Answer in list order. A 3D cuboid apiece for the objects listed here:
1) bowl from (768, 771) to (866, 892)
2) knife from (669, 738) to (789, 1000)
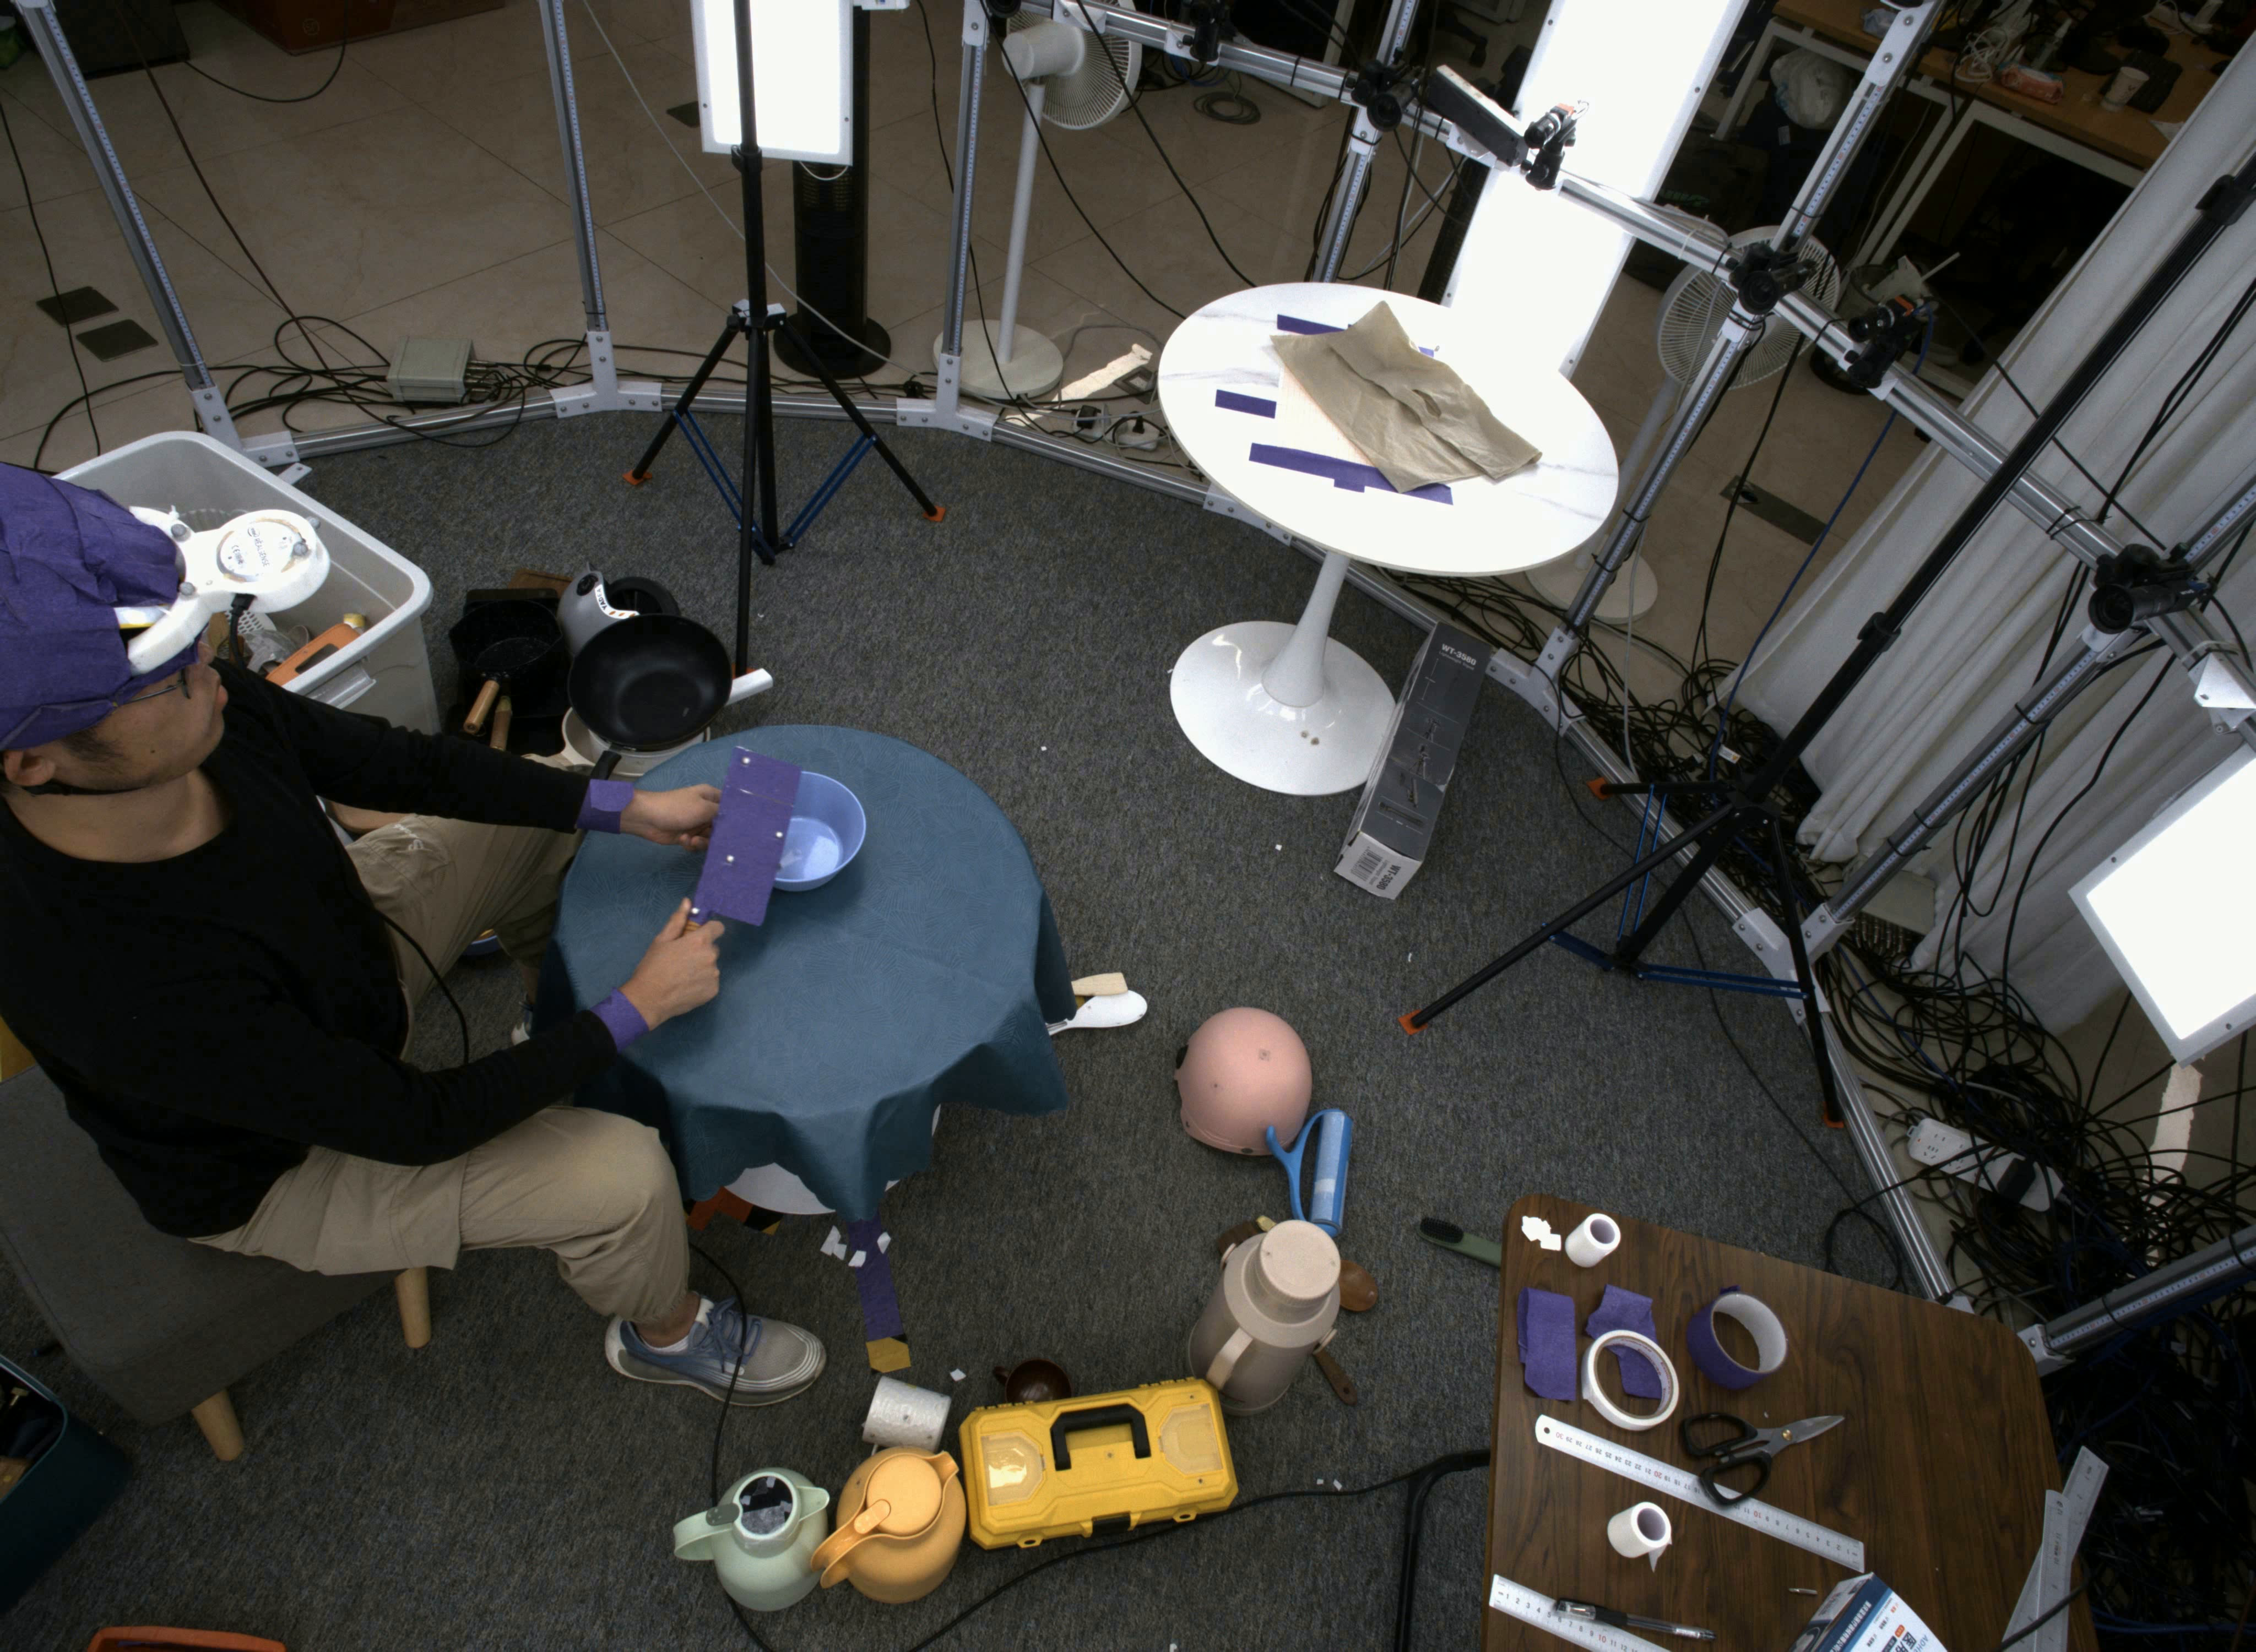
[{"bbox_3d":[-0.424,0.017,1.662,0.175,0.072,0.173,7,52,-8],"label":"bowl"},{"bbox_3d":[-0.472,0.055,1.550,0.106,0.031,0.315,19,75,-34],"label":"knife"}]
